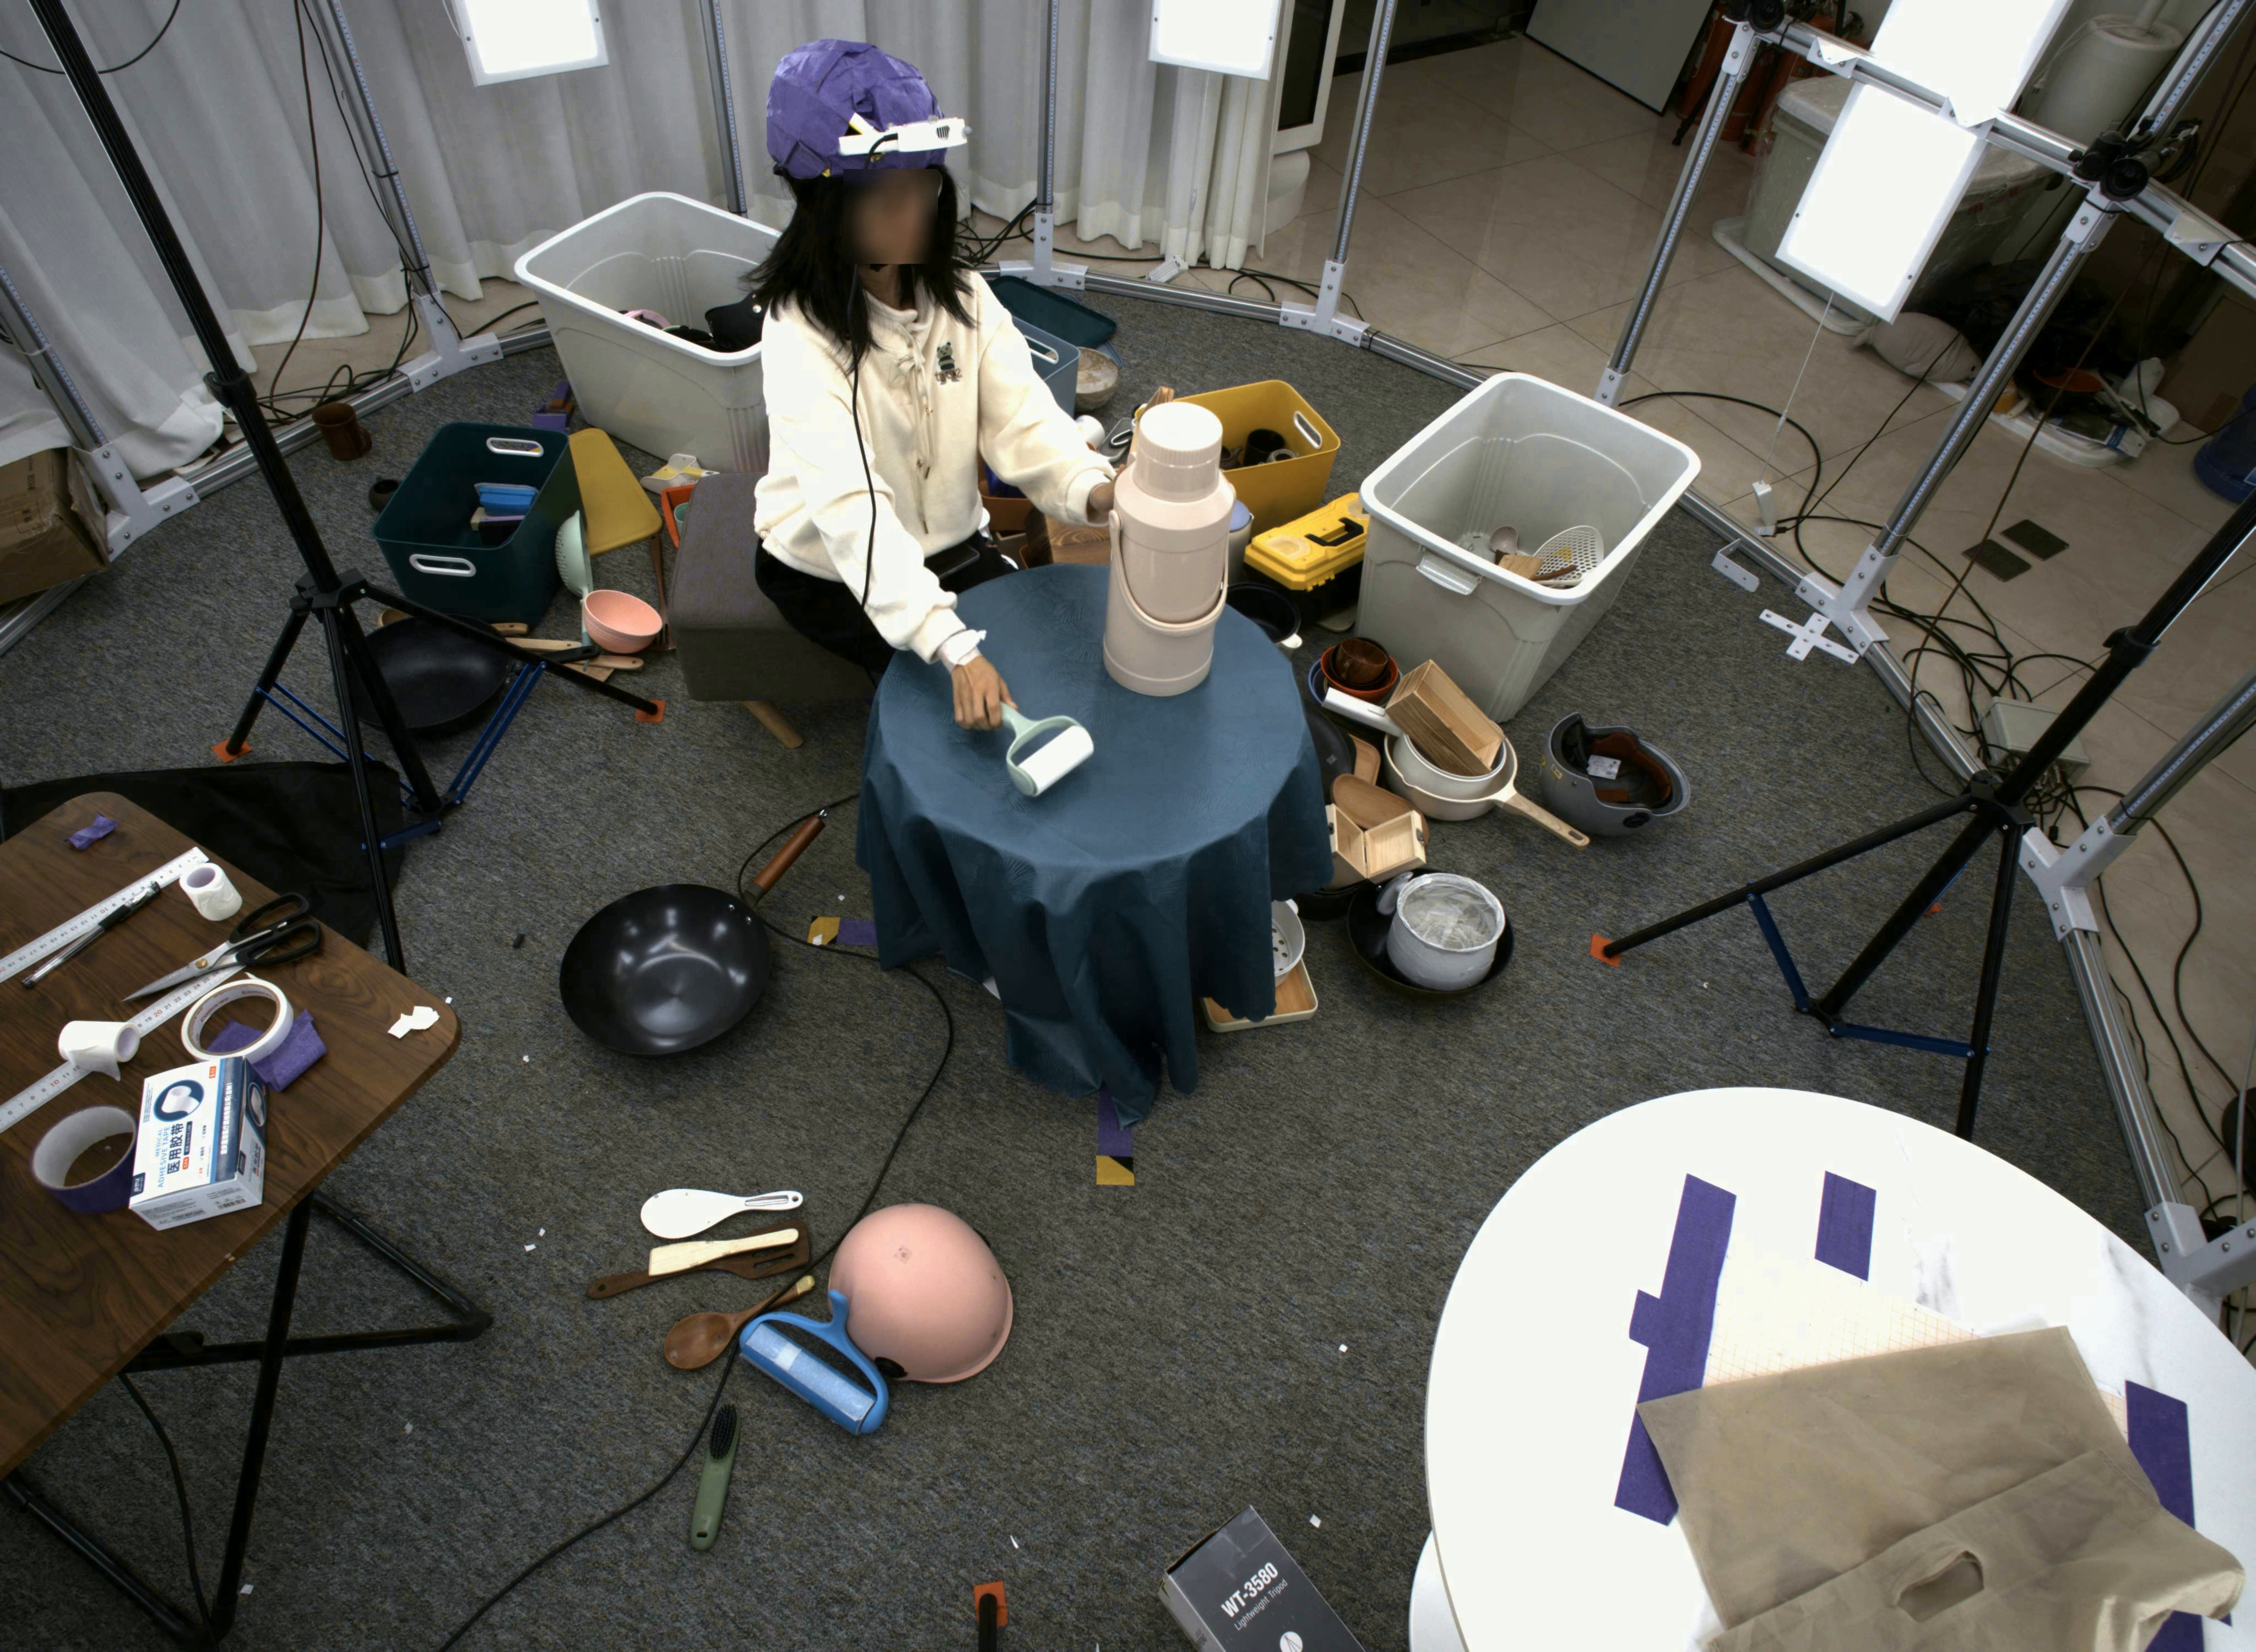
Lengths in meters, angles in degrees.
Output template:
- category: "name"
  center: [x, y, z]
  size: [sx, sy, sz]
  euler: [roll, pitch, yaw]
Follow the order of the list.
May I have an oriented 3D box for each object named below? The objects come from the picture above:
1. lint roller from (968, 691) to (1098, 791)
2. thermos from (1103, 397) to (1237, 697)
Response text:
- category: "lint roller"
  center: [-0.142, -0.136, 1.715]
  size: [0.117, 0.047, 0.200]
  euler: [-39, 62, -24]
- category: "thermos"
  center: [0.050, -0.381, 1.748]
  size: [0.175, 0.396, 0.212]
  euler: [-17, 53, -18]
